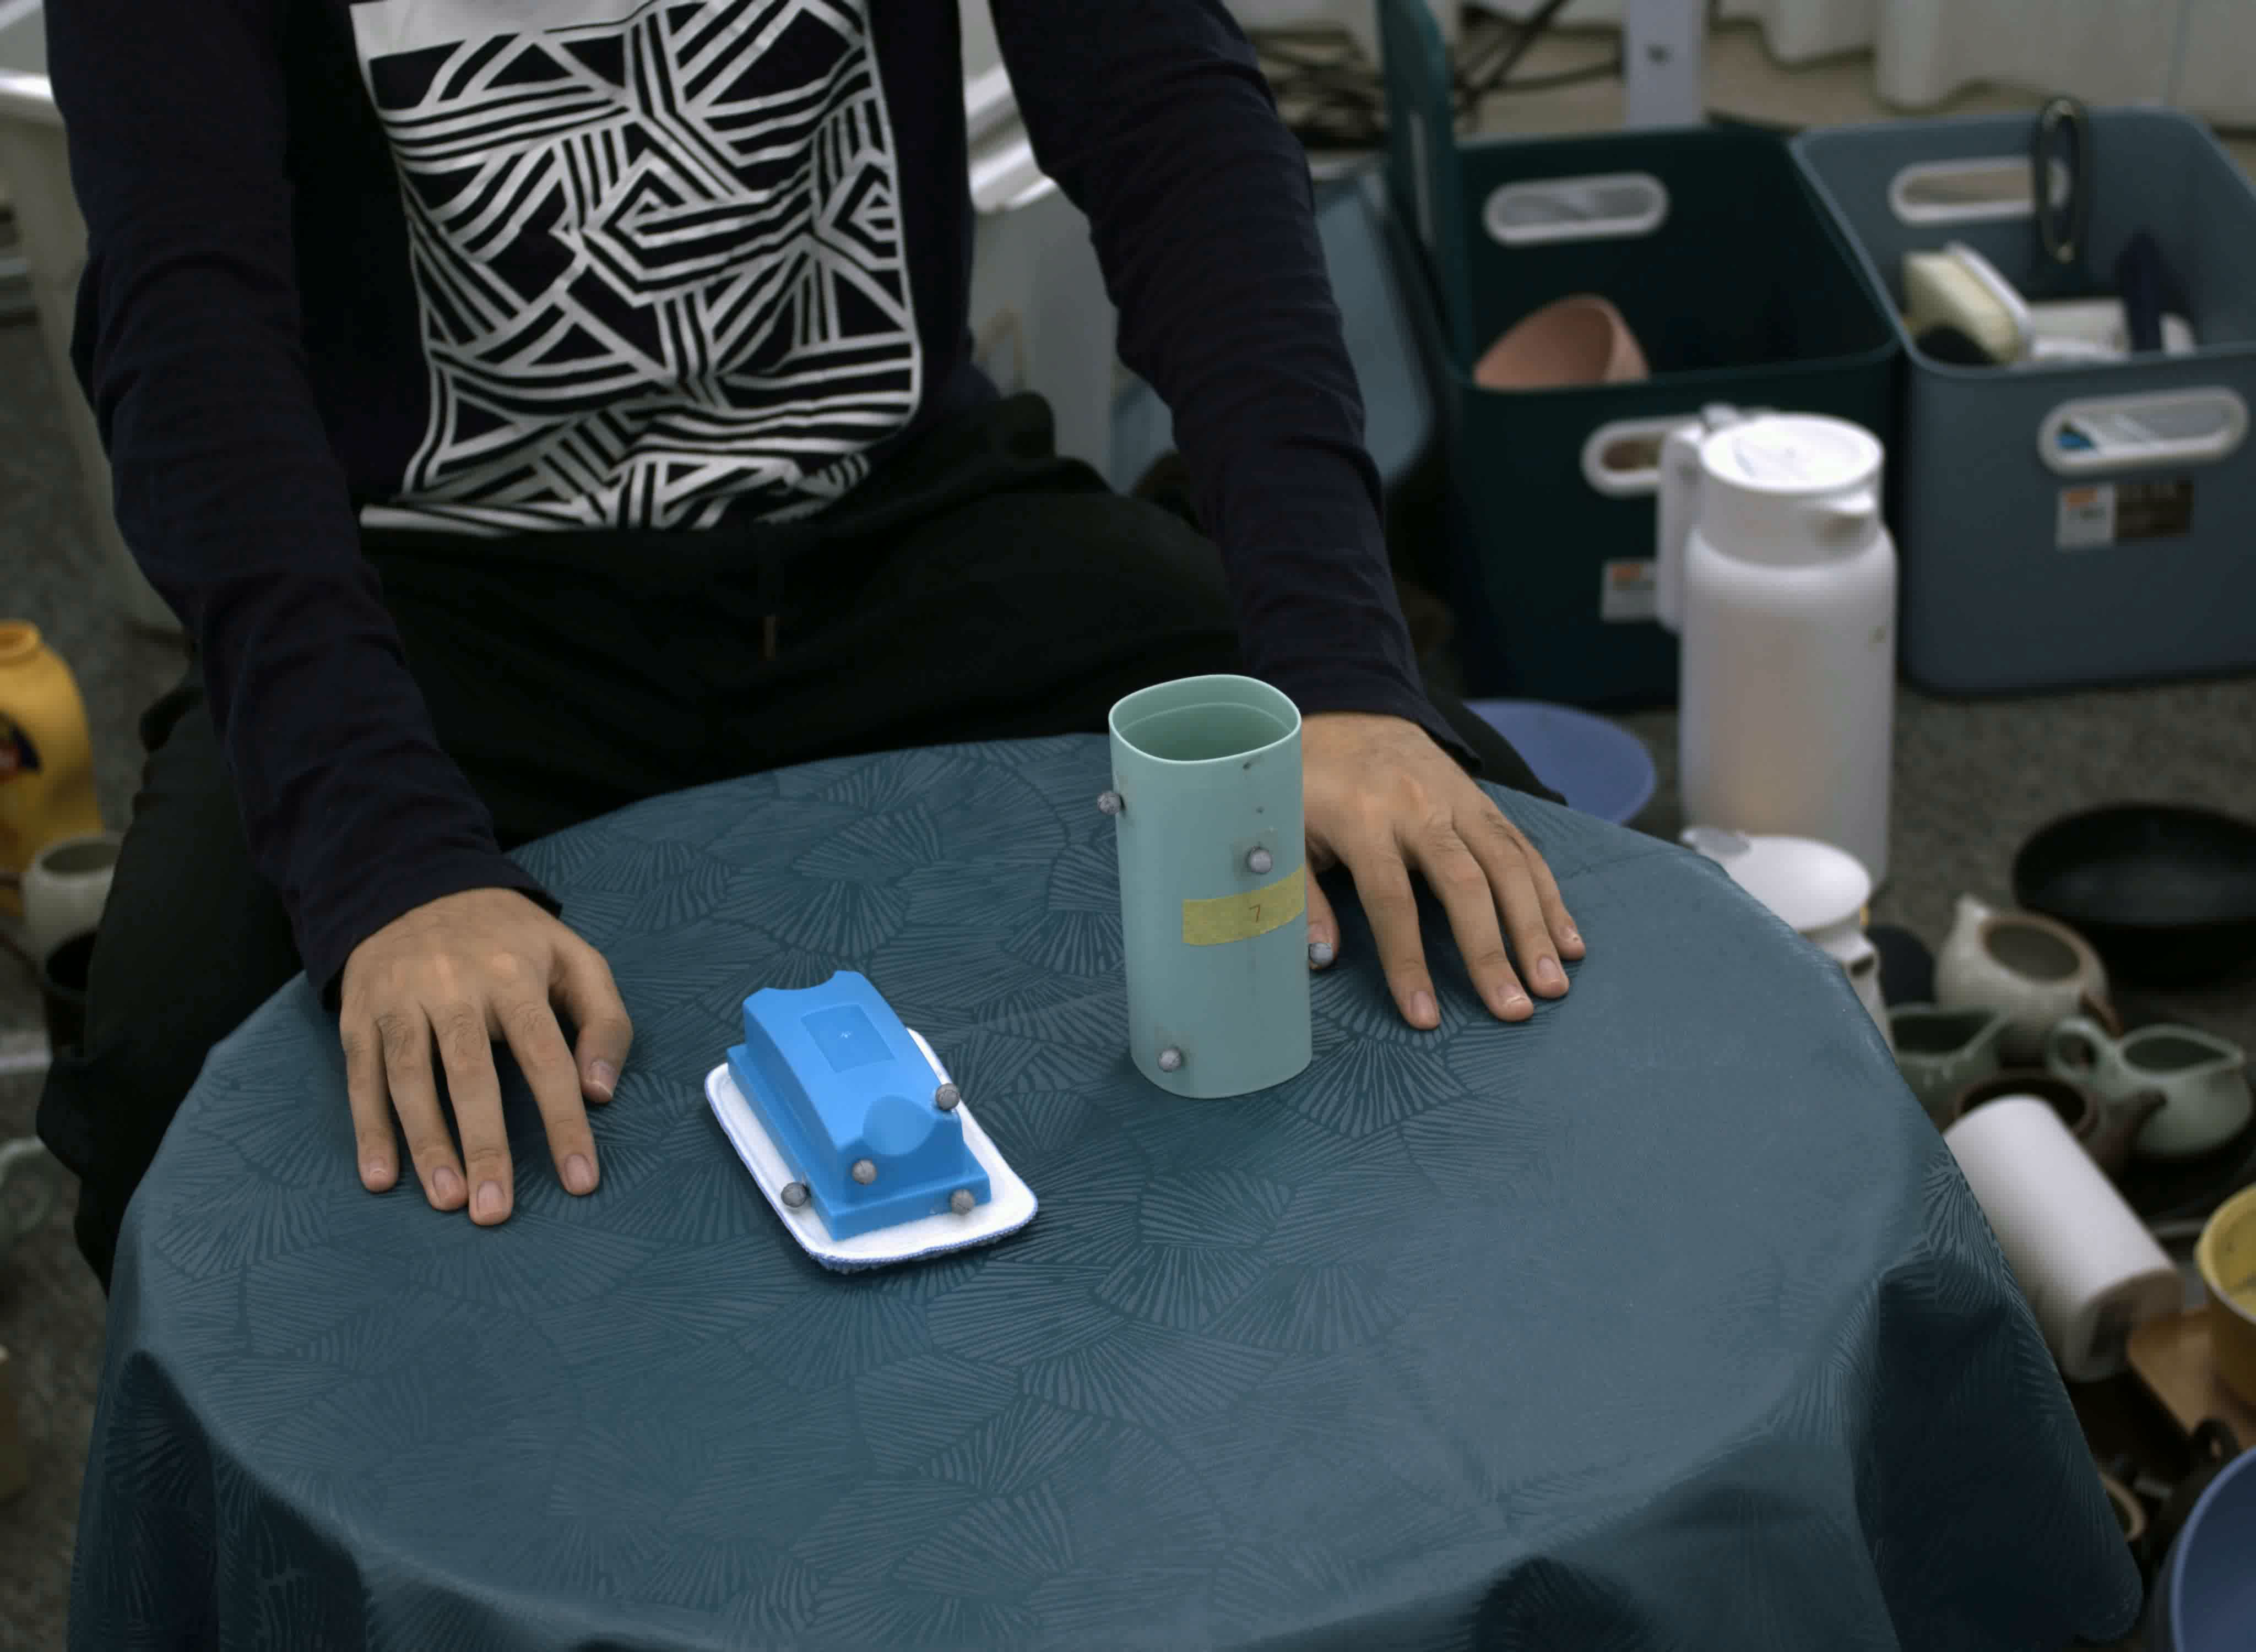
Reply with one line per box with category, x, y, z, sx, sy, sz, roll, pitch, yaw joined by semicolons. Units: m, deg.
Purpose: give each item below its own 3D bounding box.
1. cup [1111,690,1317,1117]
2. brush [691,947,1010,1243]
cup;0.030;0.026;1.913;0.066;0.131;0.068;-3;25;2
brush;-0.092;0.085;1.873;0.084;0.055;0.145;-8;30;-16
